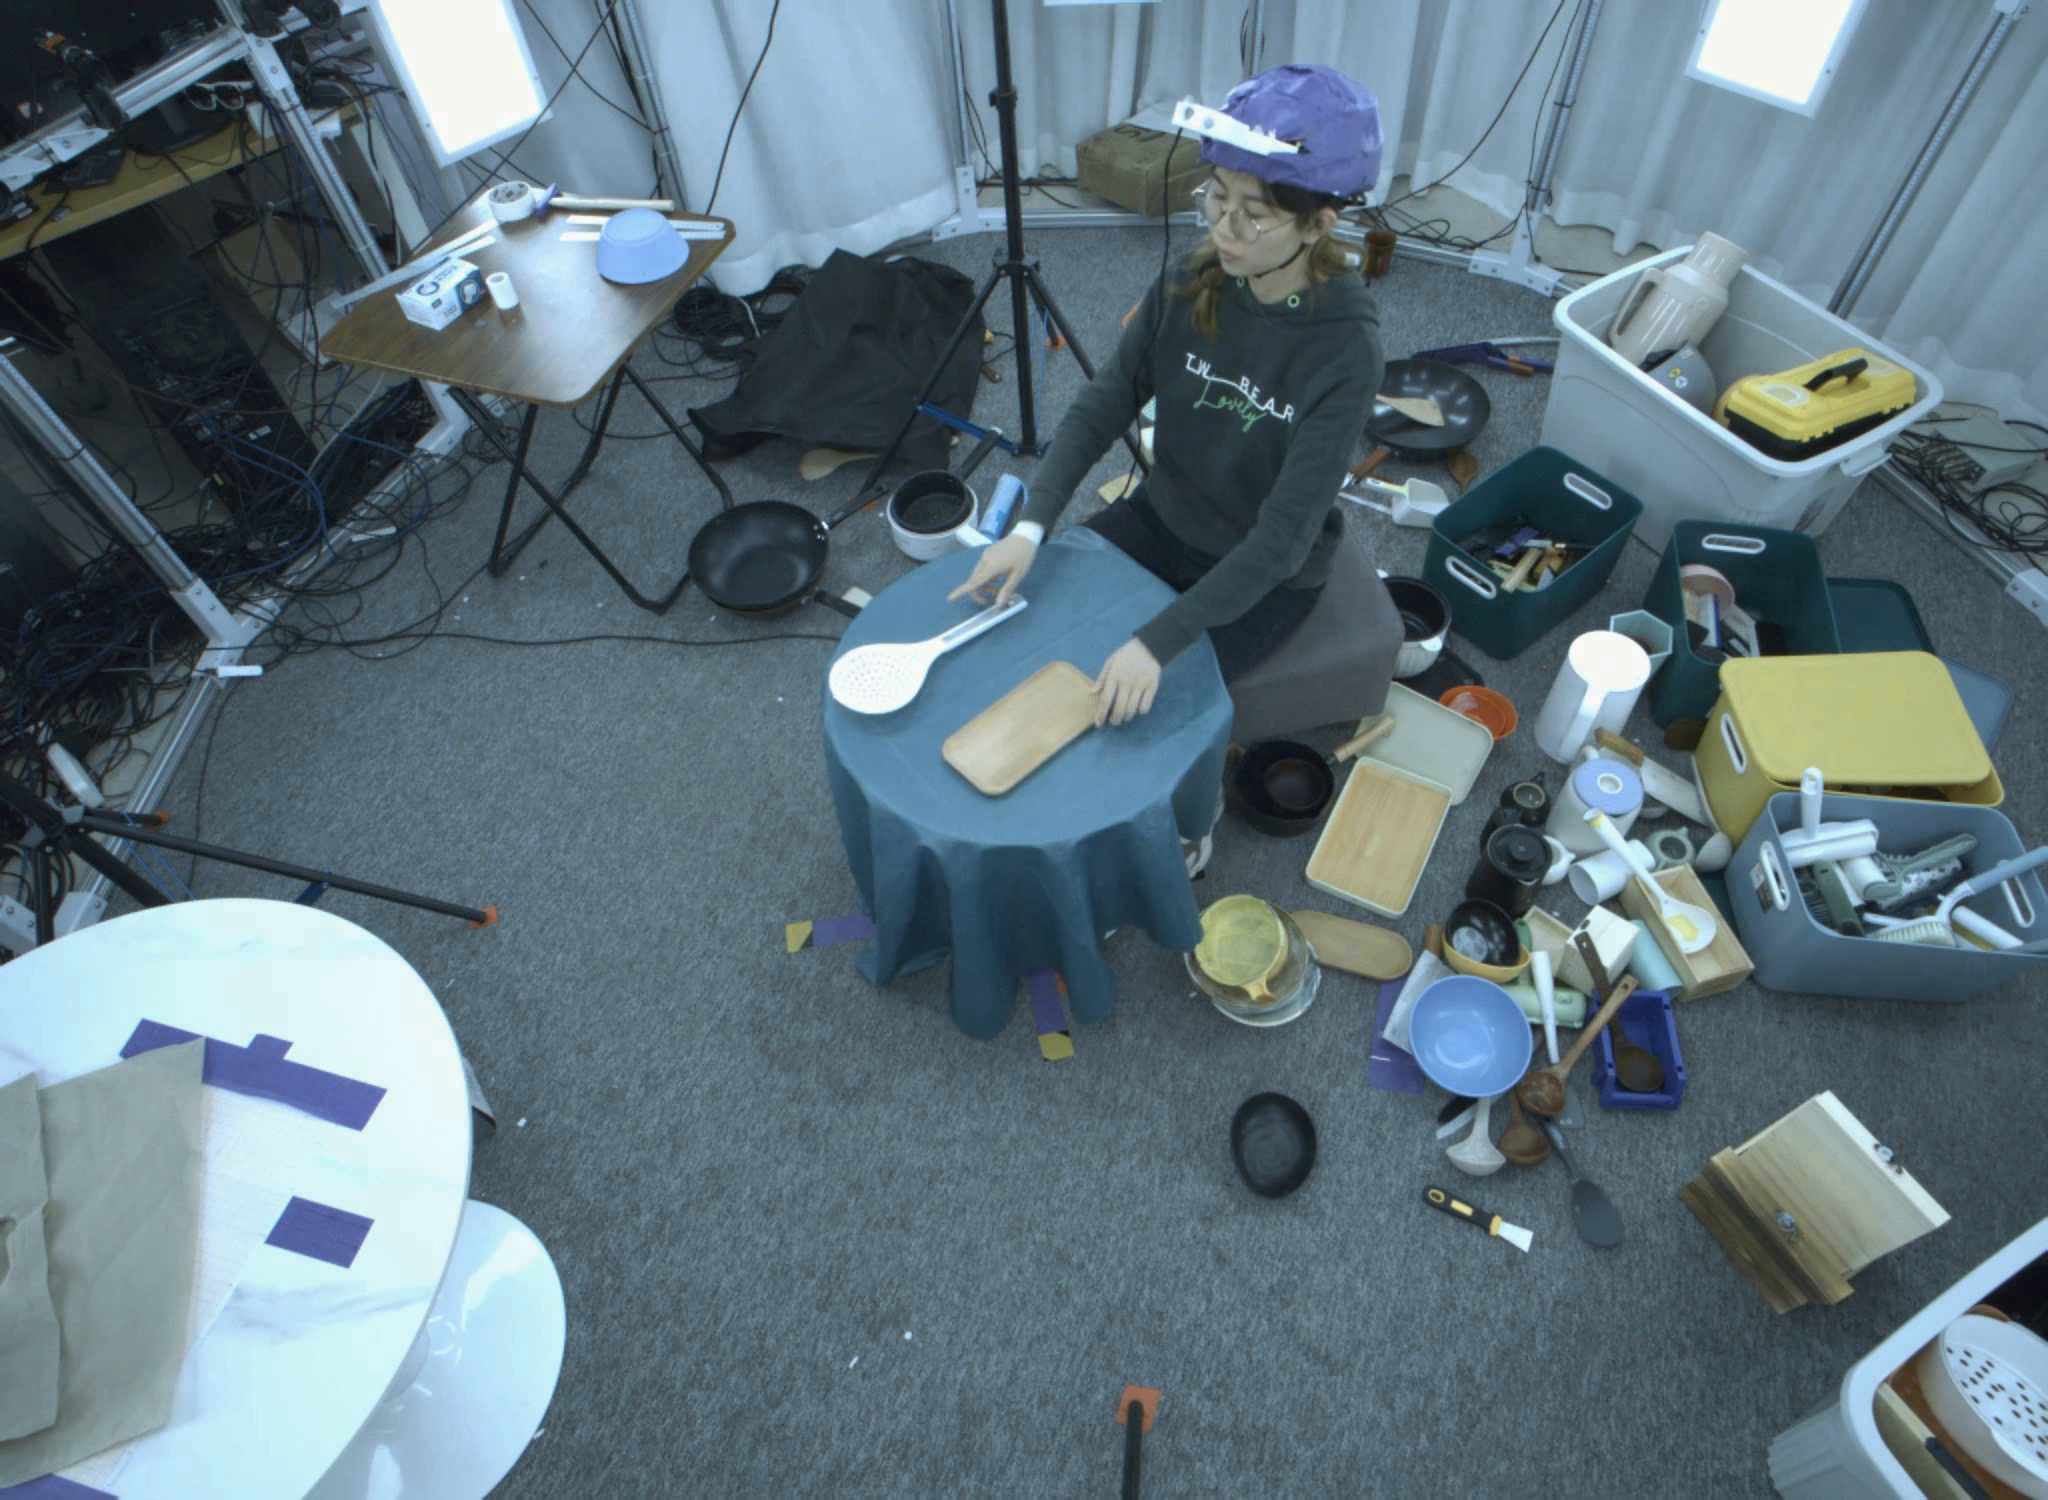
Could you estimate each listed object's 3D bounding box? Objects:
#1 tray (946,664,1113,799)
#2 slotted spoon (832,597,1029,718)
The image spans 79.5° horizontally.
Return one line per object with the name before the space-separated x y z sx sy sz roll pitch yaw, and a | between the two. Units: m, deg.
tray | 0.009 -0.029 1.808 0.252 0.023 0.128 -37 64 -23
slotted spoon | -0.135 -0.150 1.880 0.352 0.046 0.133 -34 63 -21
